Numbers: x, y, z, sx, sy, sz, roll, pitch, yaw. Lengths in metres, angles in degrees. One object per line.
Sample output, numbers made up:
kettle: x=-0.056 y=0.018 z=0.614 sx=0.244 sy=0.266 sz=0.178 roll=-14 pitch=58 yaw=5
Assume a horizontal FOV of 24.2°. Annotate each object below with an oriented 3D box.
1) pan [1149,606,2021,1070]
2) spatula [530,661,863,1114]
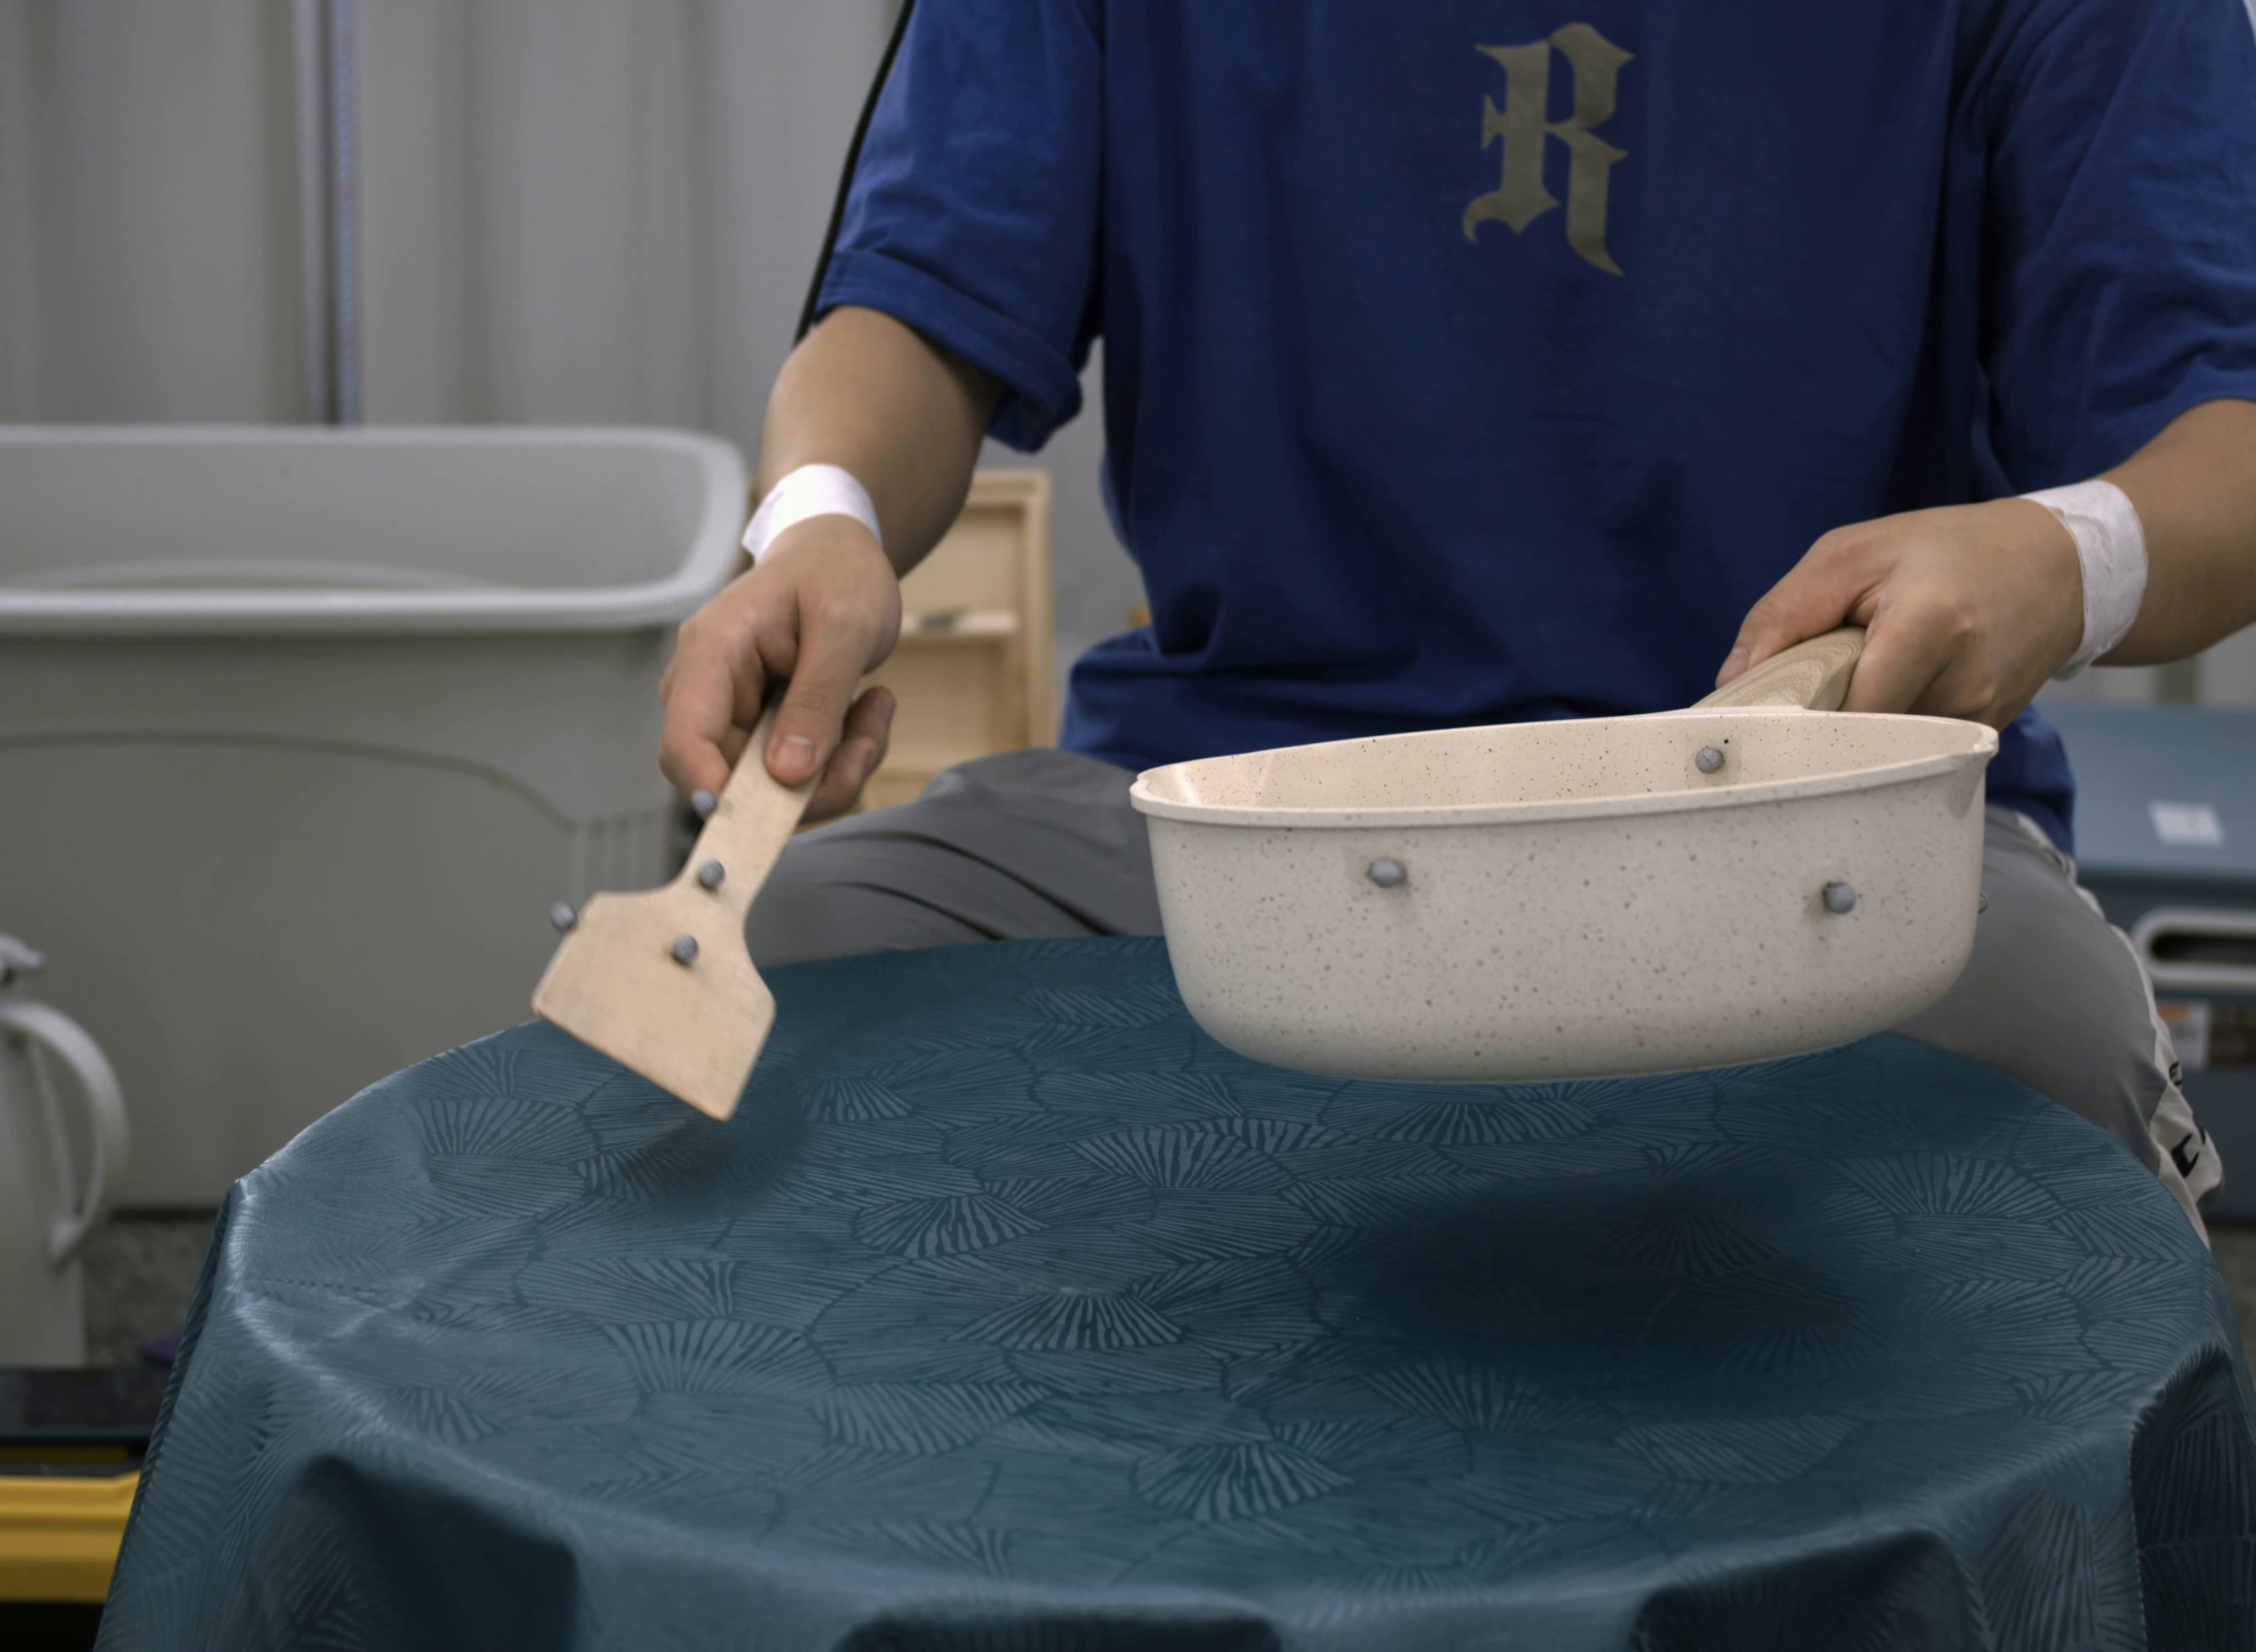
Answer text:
pan: x=0.174 y=-0.001 z=1.604 sx=0.261 sy=0.102 sz=0.437 roll=-3 pitch=5 yaw=27
spatula: x=-0.131 y=0.009 z=1.727 sx=0.072 sy=0.011 sz=0.291 roll=33 pitch=27 yaw=-6
